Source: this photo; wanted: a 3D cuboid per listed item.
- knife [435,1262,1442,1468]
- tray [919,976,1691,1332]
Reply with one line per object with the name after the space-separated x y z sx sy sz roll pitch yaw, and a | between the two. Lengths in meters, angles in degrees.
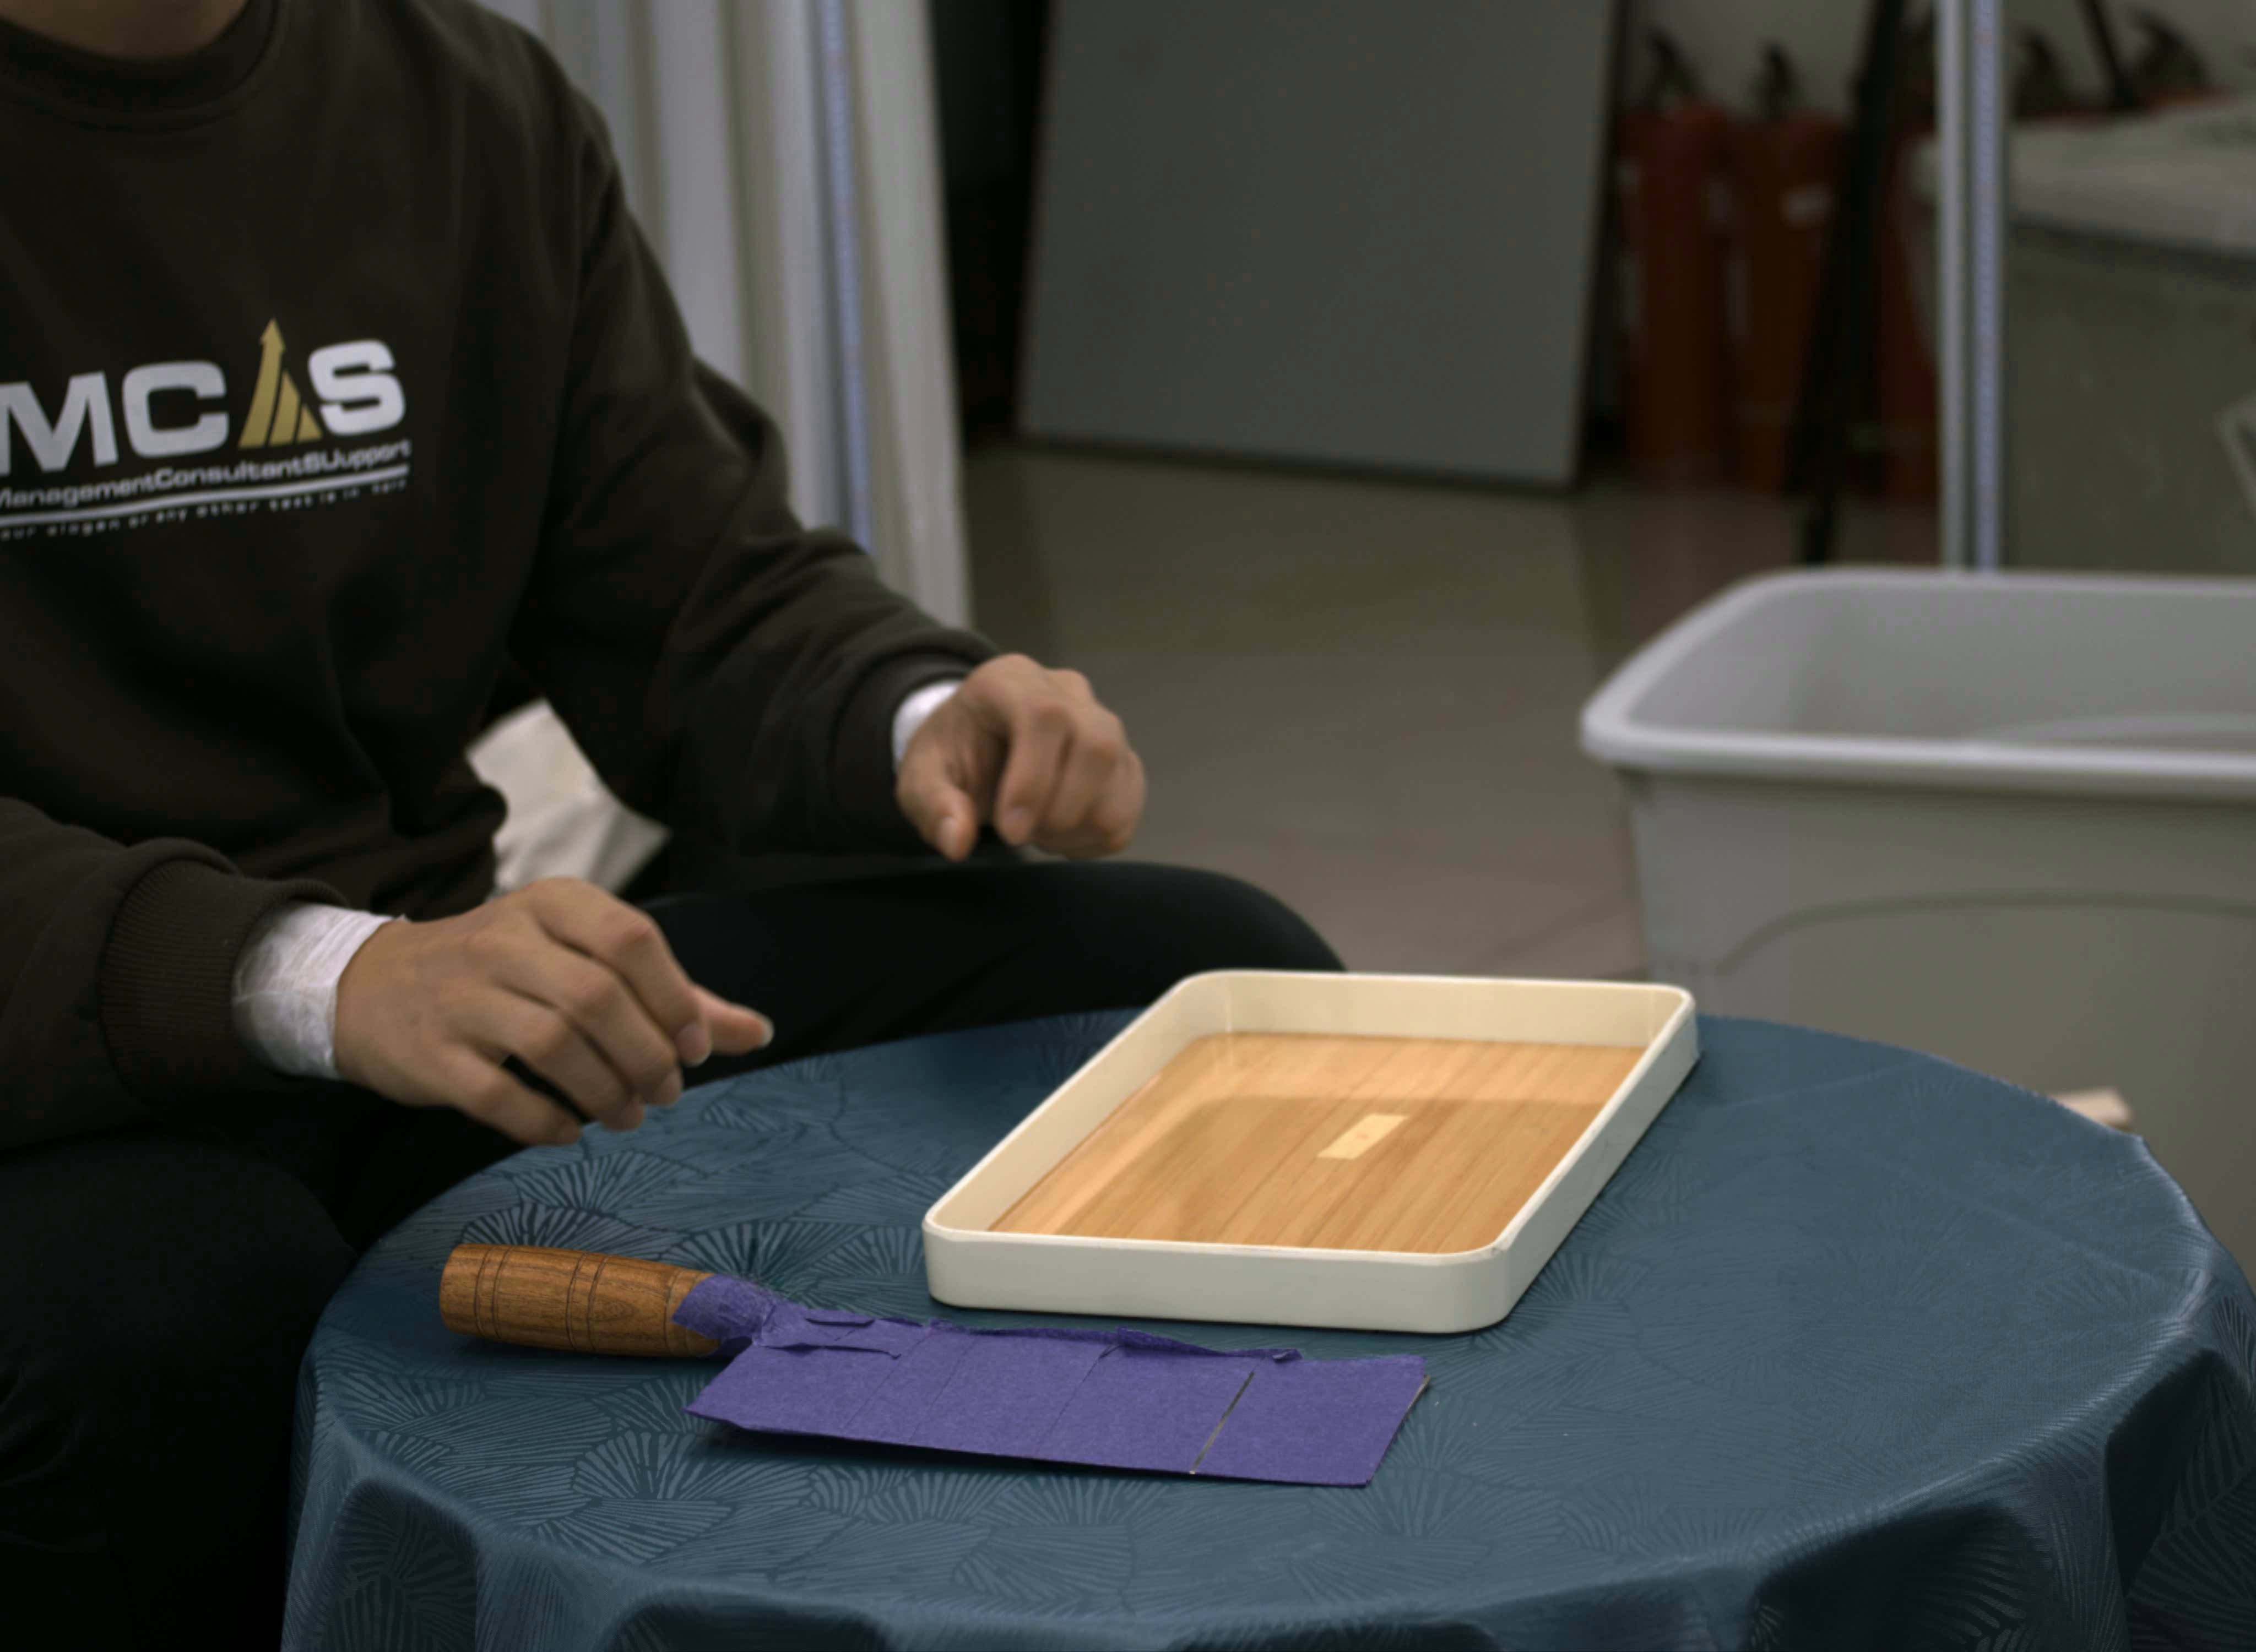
-0.067 0.158 1.584 0.314 0.032 0.103 1 14 18 | knife
0.066 0.103 1.771 0.191 0.028 0.297 0 14 19 | tray
